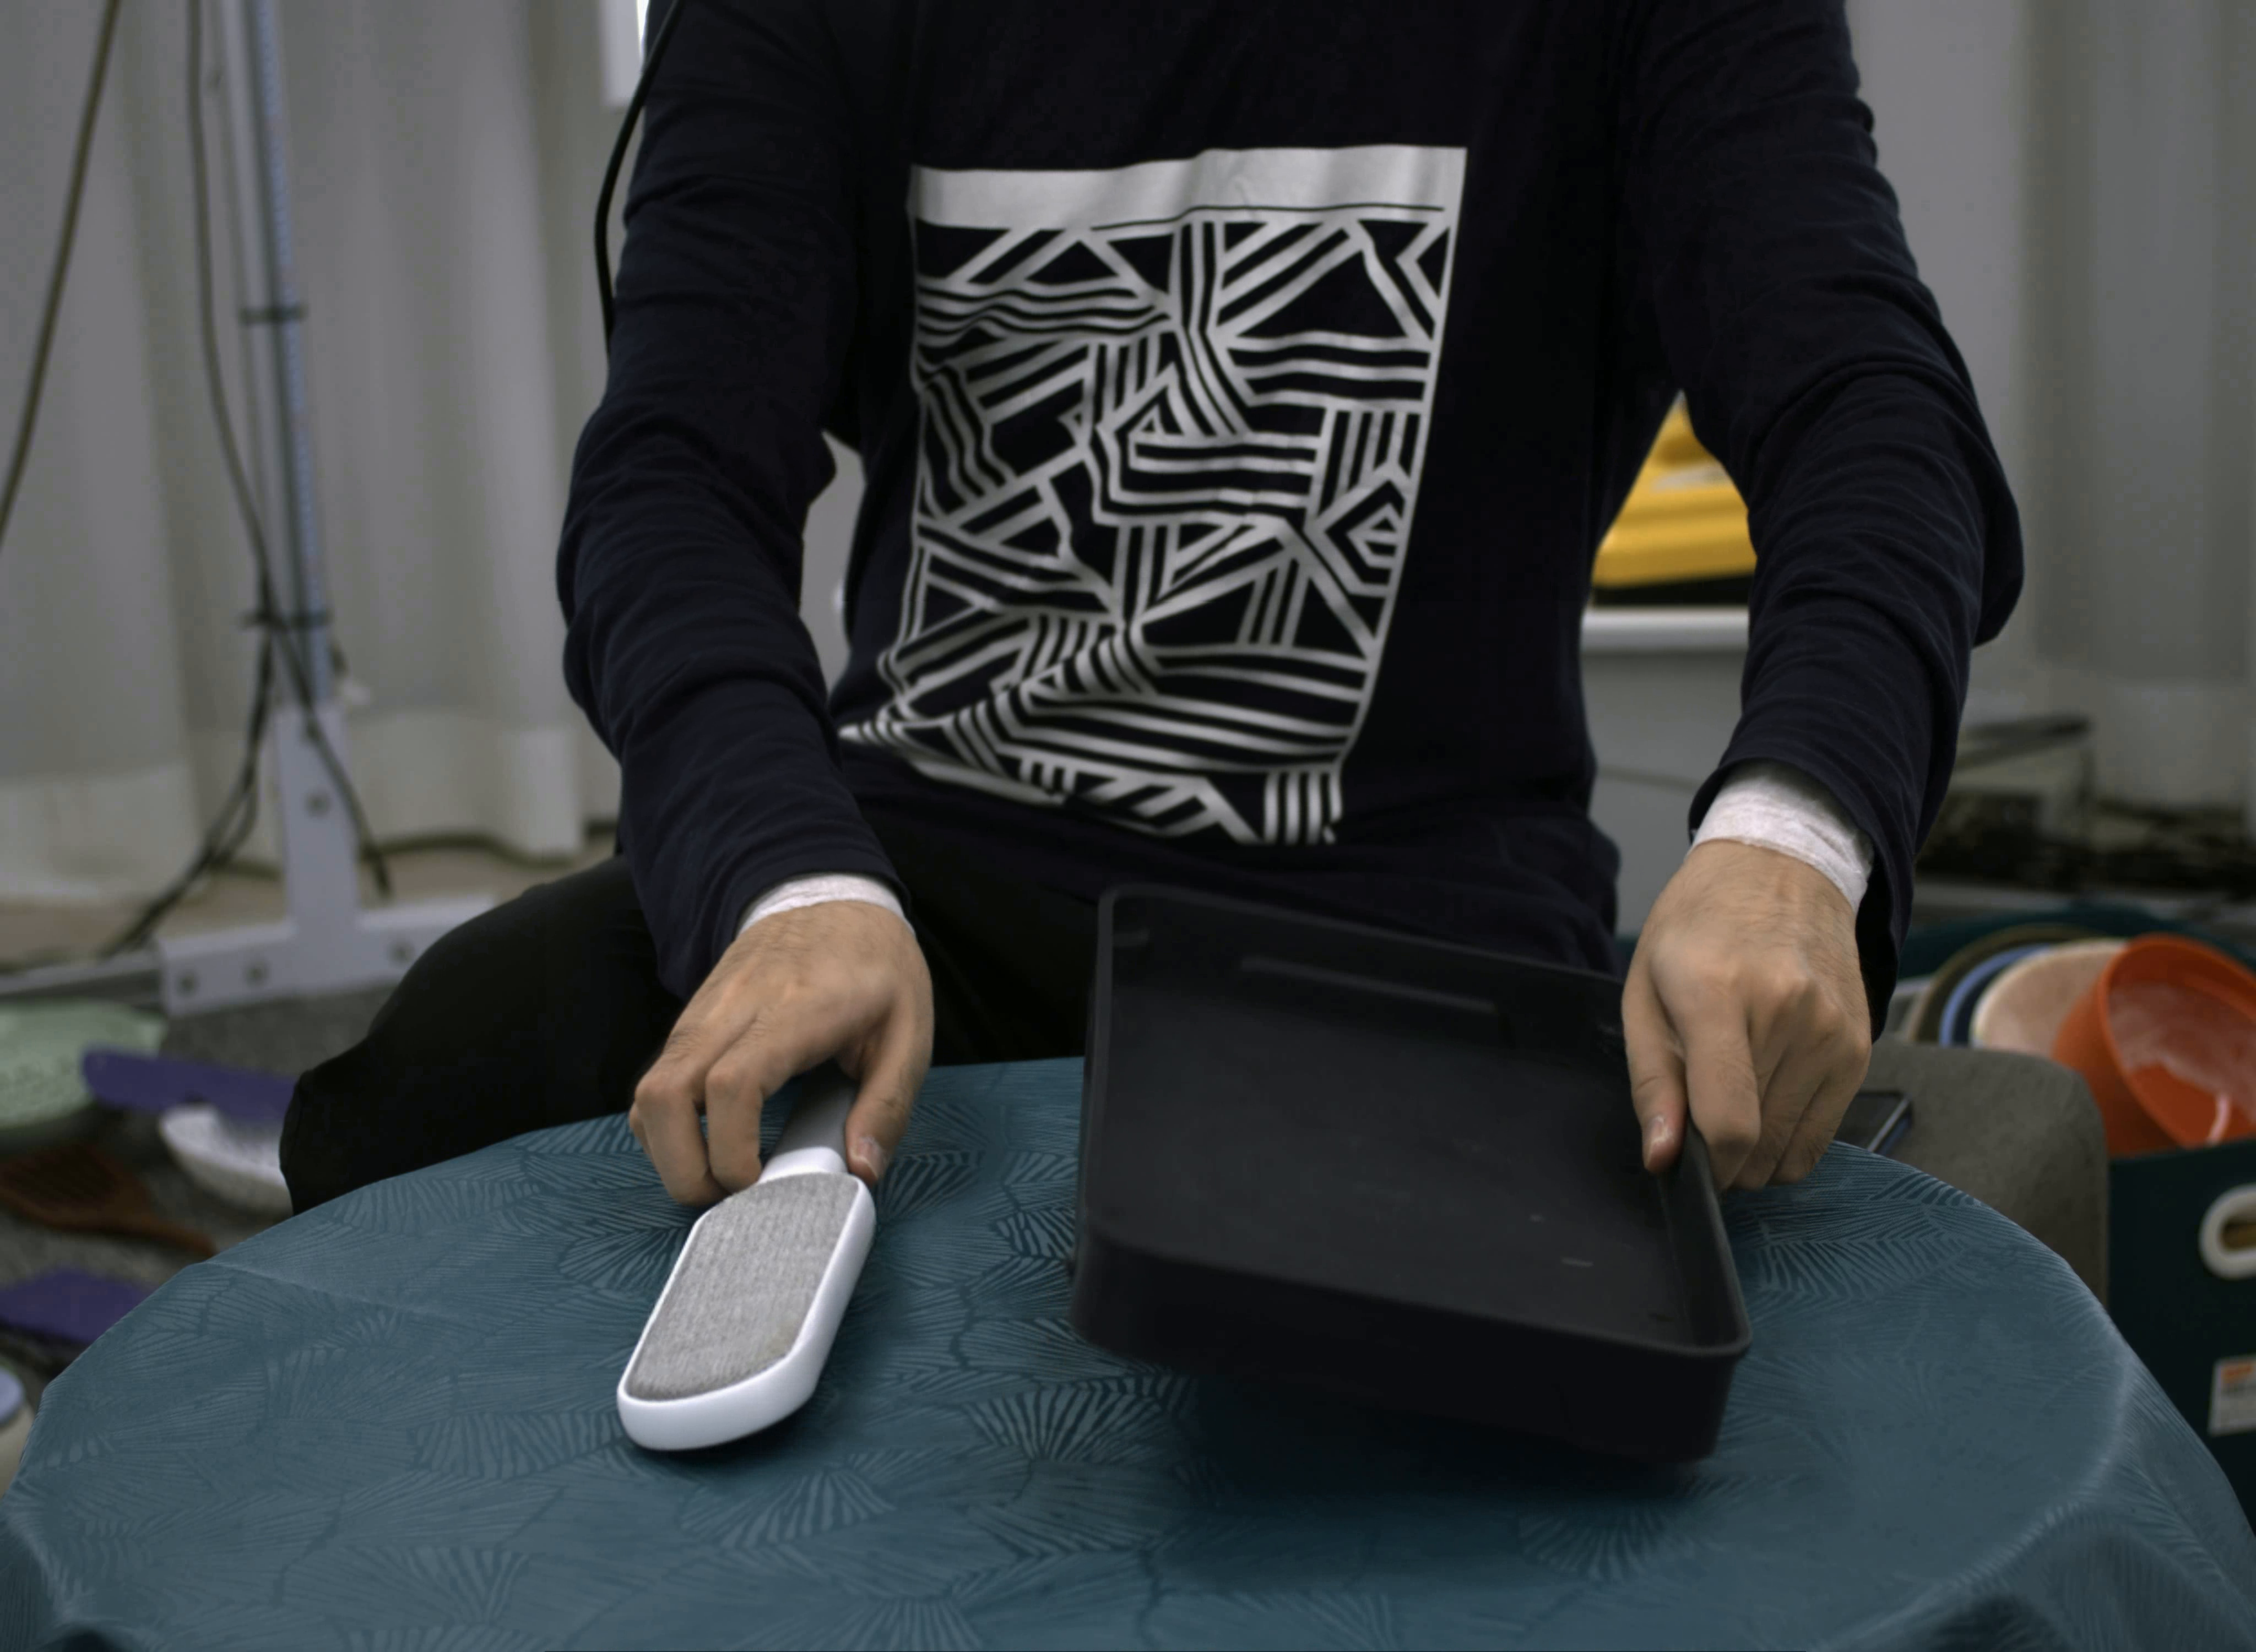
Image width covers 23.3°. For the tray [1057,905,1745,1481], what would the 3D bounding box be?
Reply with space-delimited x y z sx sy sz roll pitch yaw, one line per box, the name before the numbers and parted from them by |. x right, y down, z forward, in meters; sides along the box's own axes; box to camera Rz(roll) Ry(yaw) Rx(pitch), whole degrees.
tray | 0.076 0.099 1.582 0.184 0.037 0.320 10 17 -1

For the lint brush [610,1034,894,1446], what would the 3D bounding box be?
lint brush | -0.103 0.119 1.645 0.060 0.021 0.311 -15 14 10
